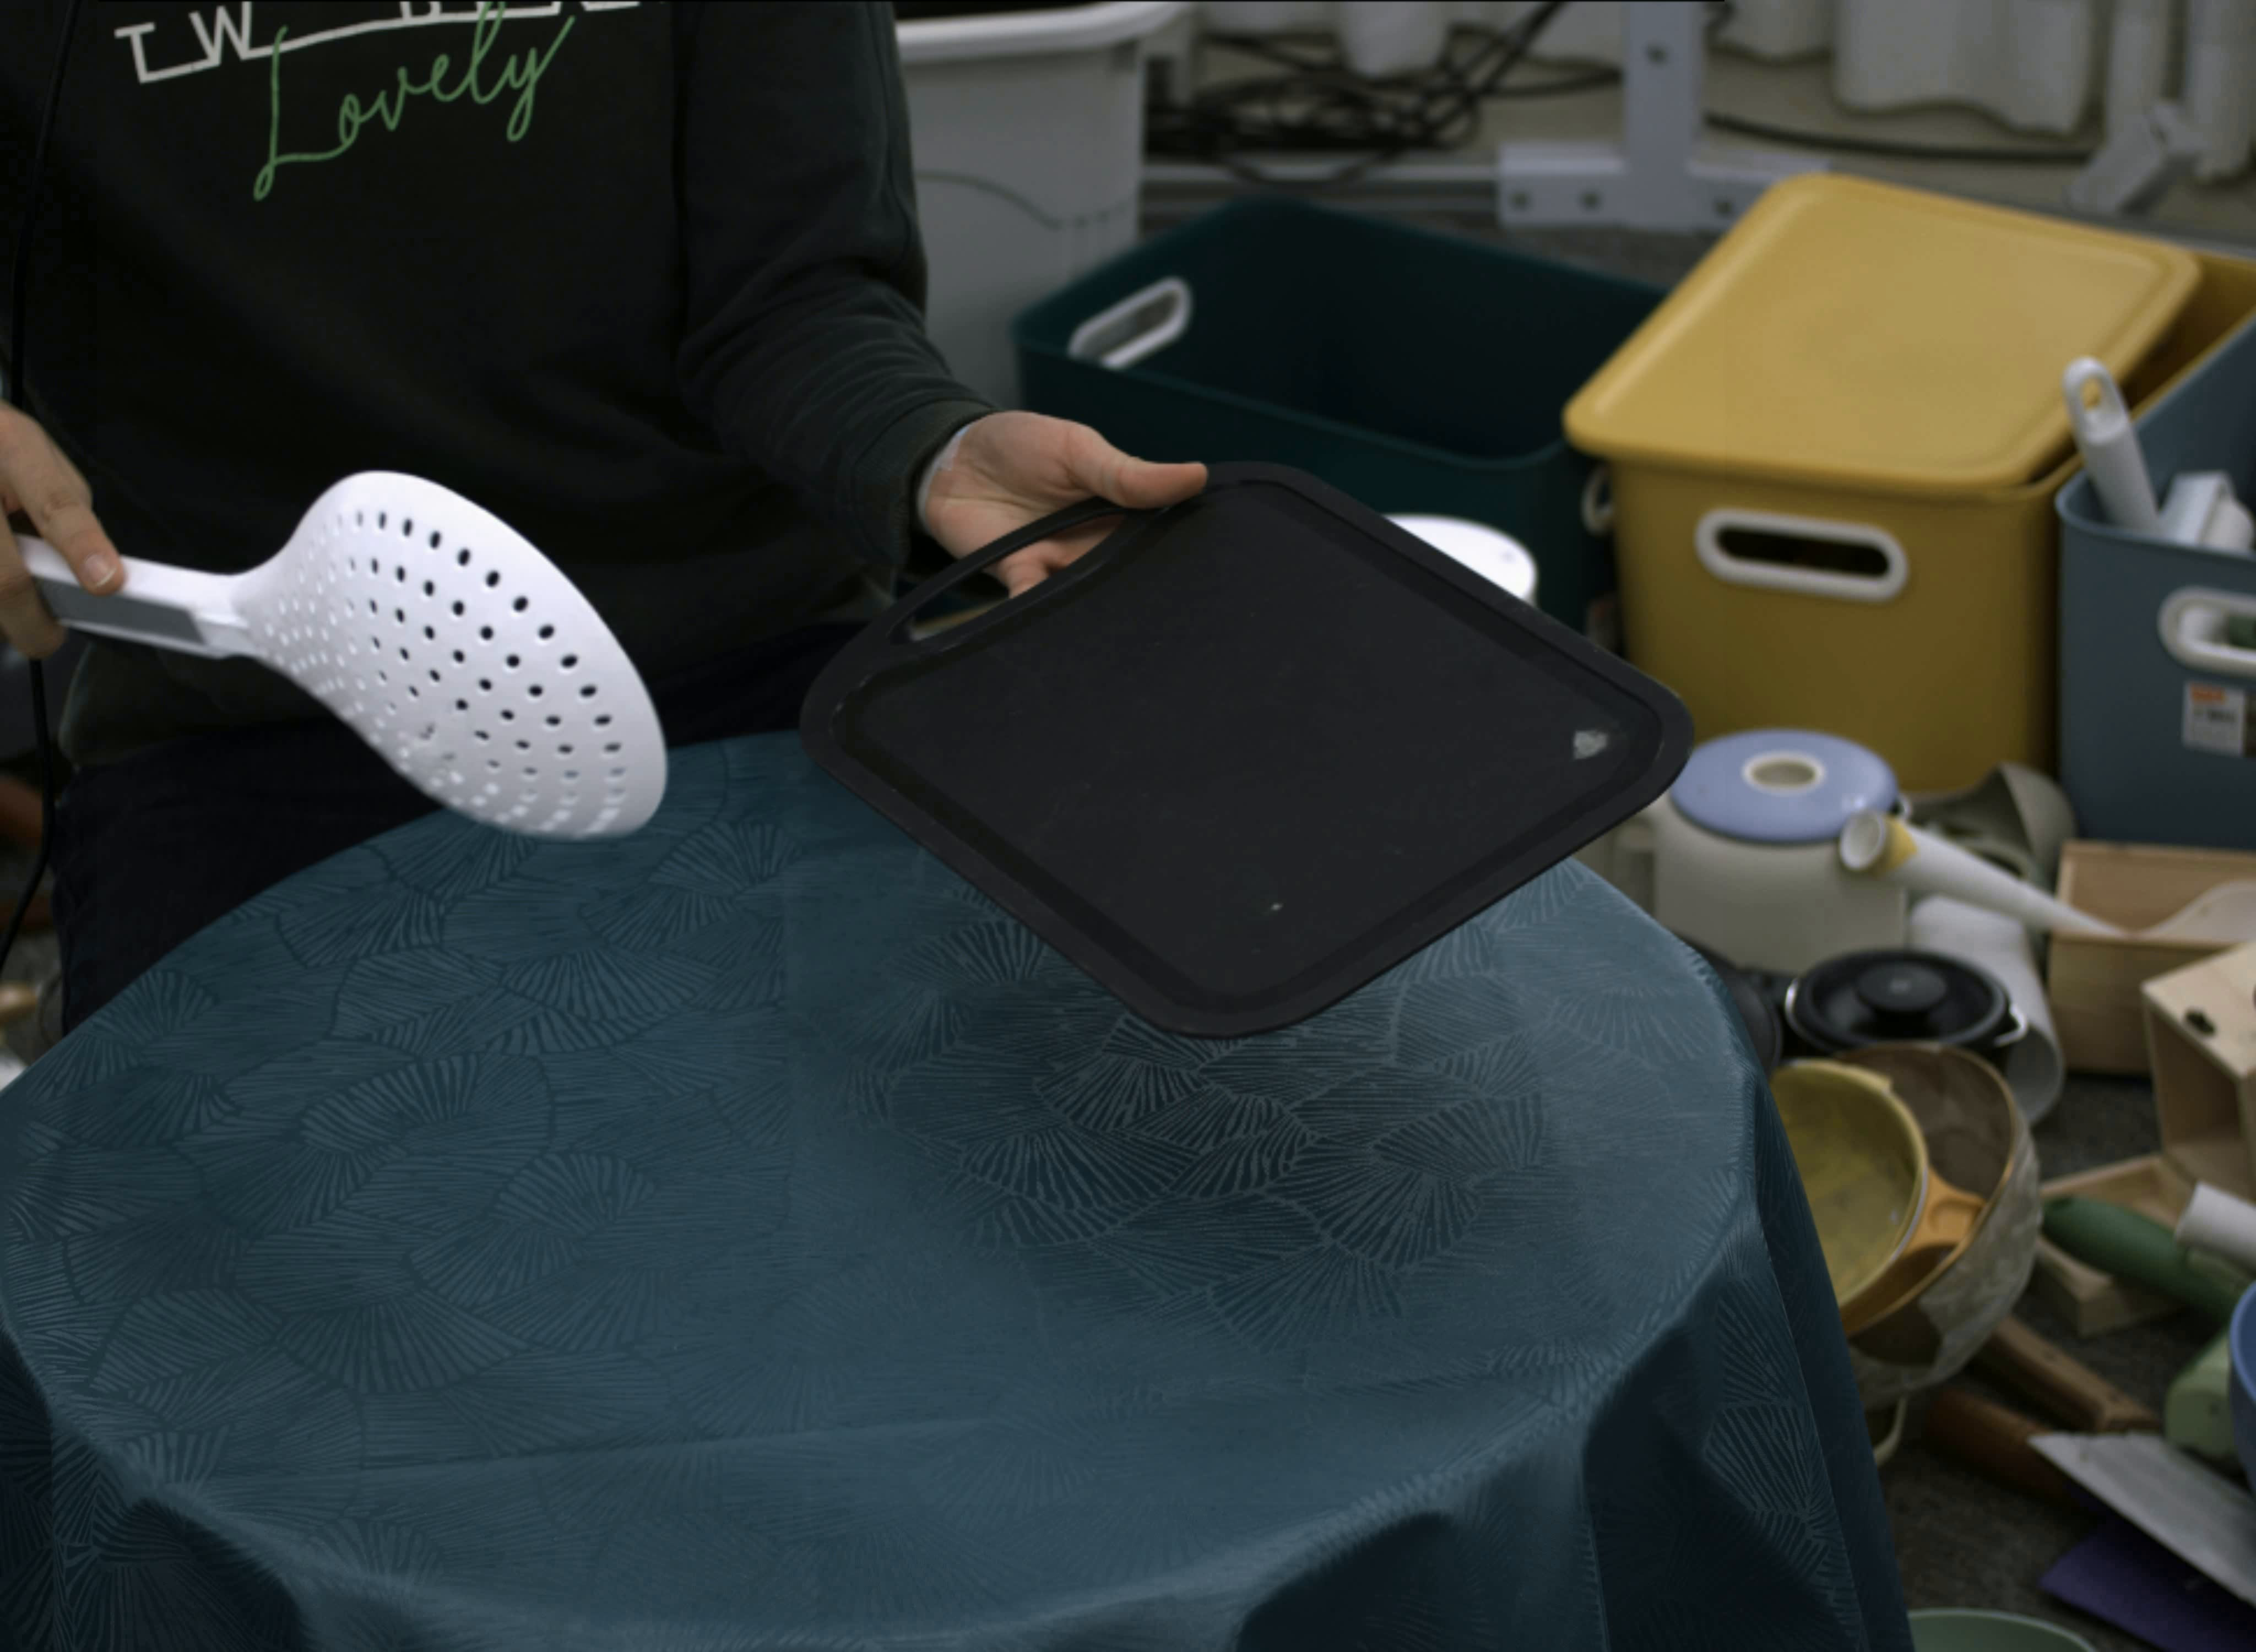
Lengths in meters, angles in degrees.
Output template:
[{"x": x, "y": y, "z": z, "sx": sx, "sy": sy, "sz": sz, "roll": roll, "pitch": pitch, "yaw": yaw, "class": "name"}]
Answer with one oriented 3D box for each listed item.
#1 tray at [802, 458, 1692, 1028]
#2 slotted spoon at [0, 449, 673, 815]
[{"x": 0.028, "y": -0.037, "z": 1.874, "sx": 0.212, "sy": 0.009, "sz": 0.326, "roll": -30, "pitch": 35, "yaw": -18, "class": "tray"}, {"x": -0.271, "y": -0.068, "z": 1.756, "sx": 0.348, "sy": 0.134, "sz": 0.046, "roll": 16, "pitch": 50, "yaw": 46, "class": "slotted spoon"}]
